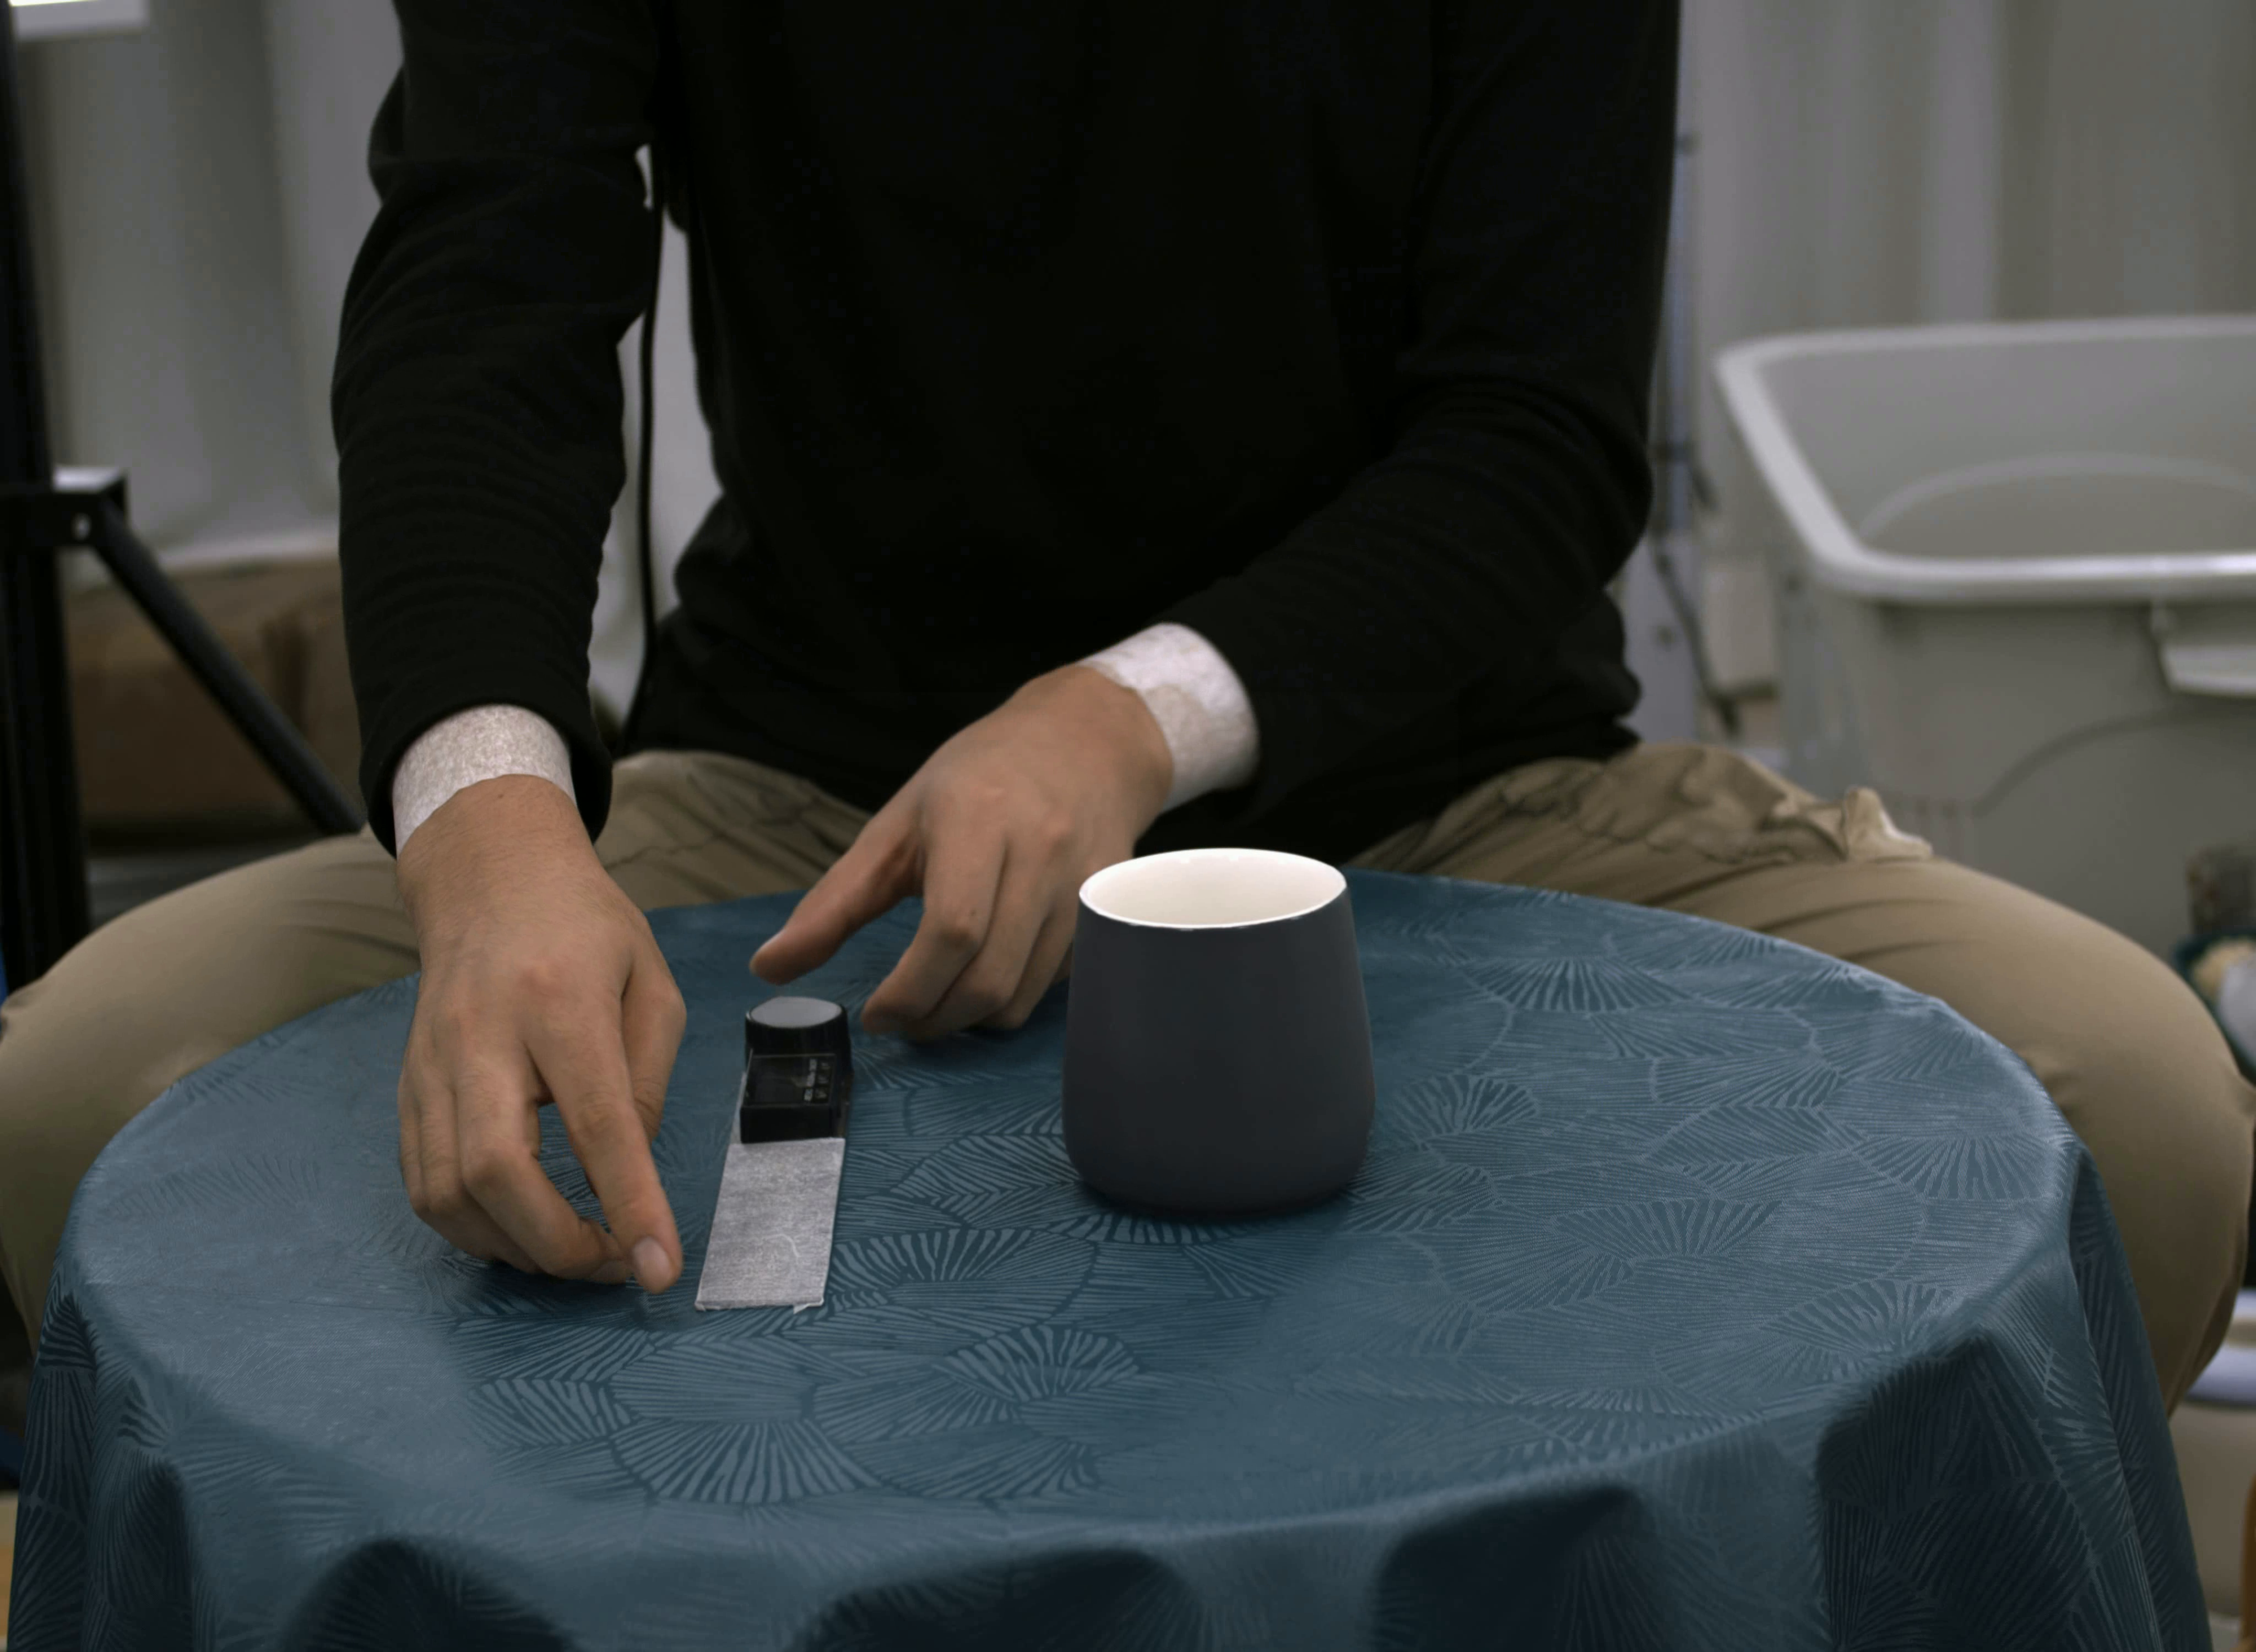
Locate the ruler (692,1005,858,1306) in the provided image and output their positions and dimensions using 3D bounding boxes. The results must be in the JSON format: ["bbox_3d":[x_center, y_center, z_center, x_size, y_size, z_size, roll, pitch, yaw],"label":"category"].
[{"bbox_3d":[-0.104,0.095,1.580,0.038,0.024,0.219,-10,14,3],"label":"ruler"}]

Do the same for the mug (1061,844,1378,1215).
[{"bbox_3d":[0.028,0.055,1.568,0.093,0.090,0.123,0,17,5],"label":"mug"}]
